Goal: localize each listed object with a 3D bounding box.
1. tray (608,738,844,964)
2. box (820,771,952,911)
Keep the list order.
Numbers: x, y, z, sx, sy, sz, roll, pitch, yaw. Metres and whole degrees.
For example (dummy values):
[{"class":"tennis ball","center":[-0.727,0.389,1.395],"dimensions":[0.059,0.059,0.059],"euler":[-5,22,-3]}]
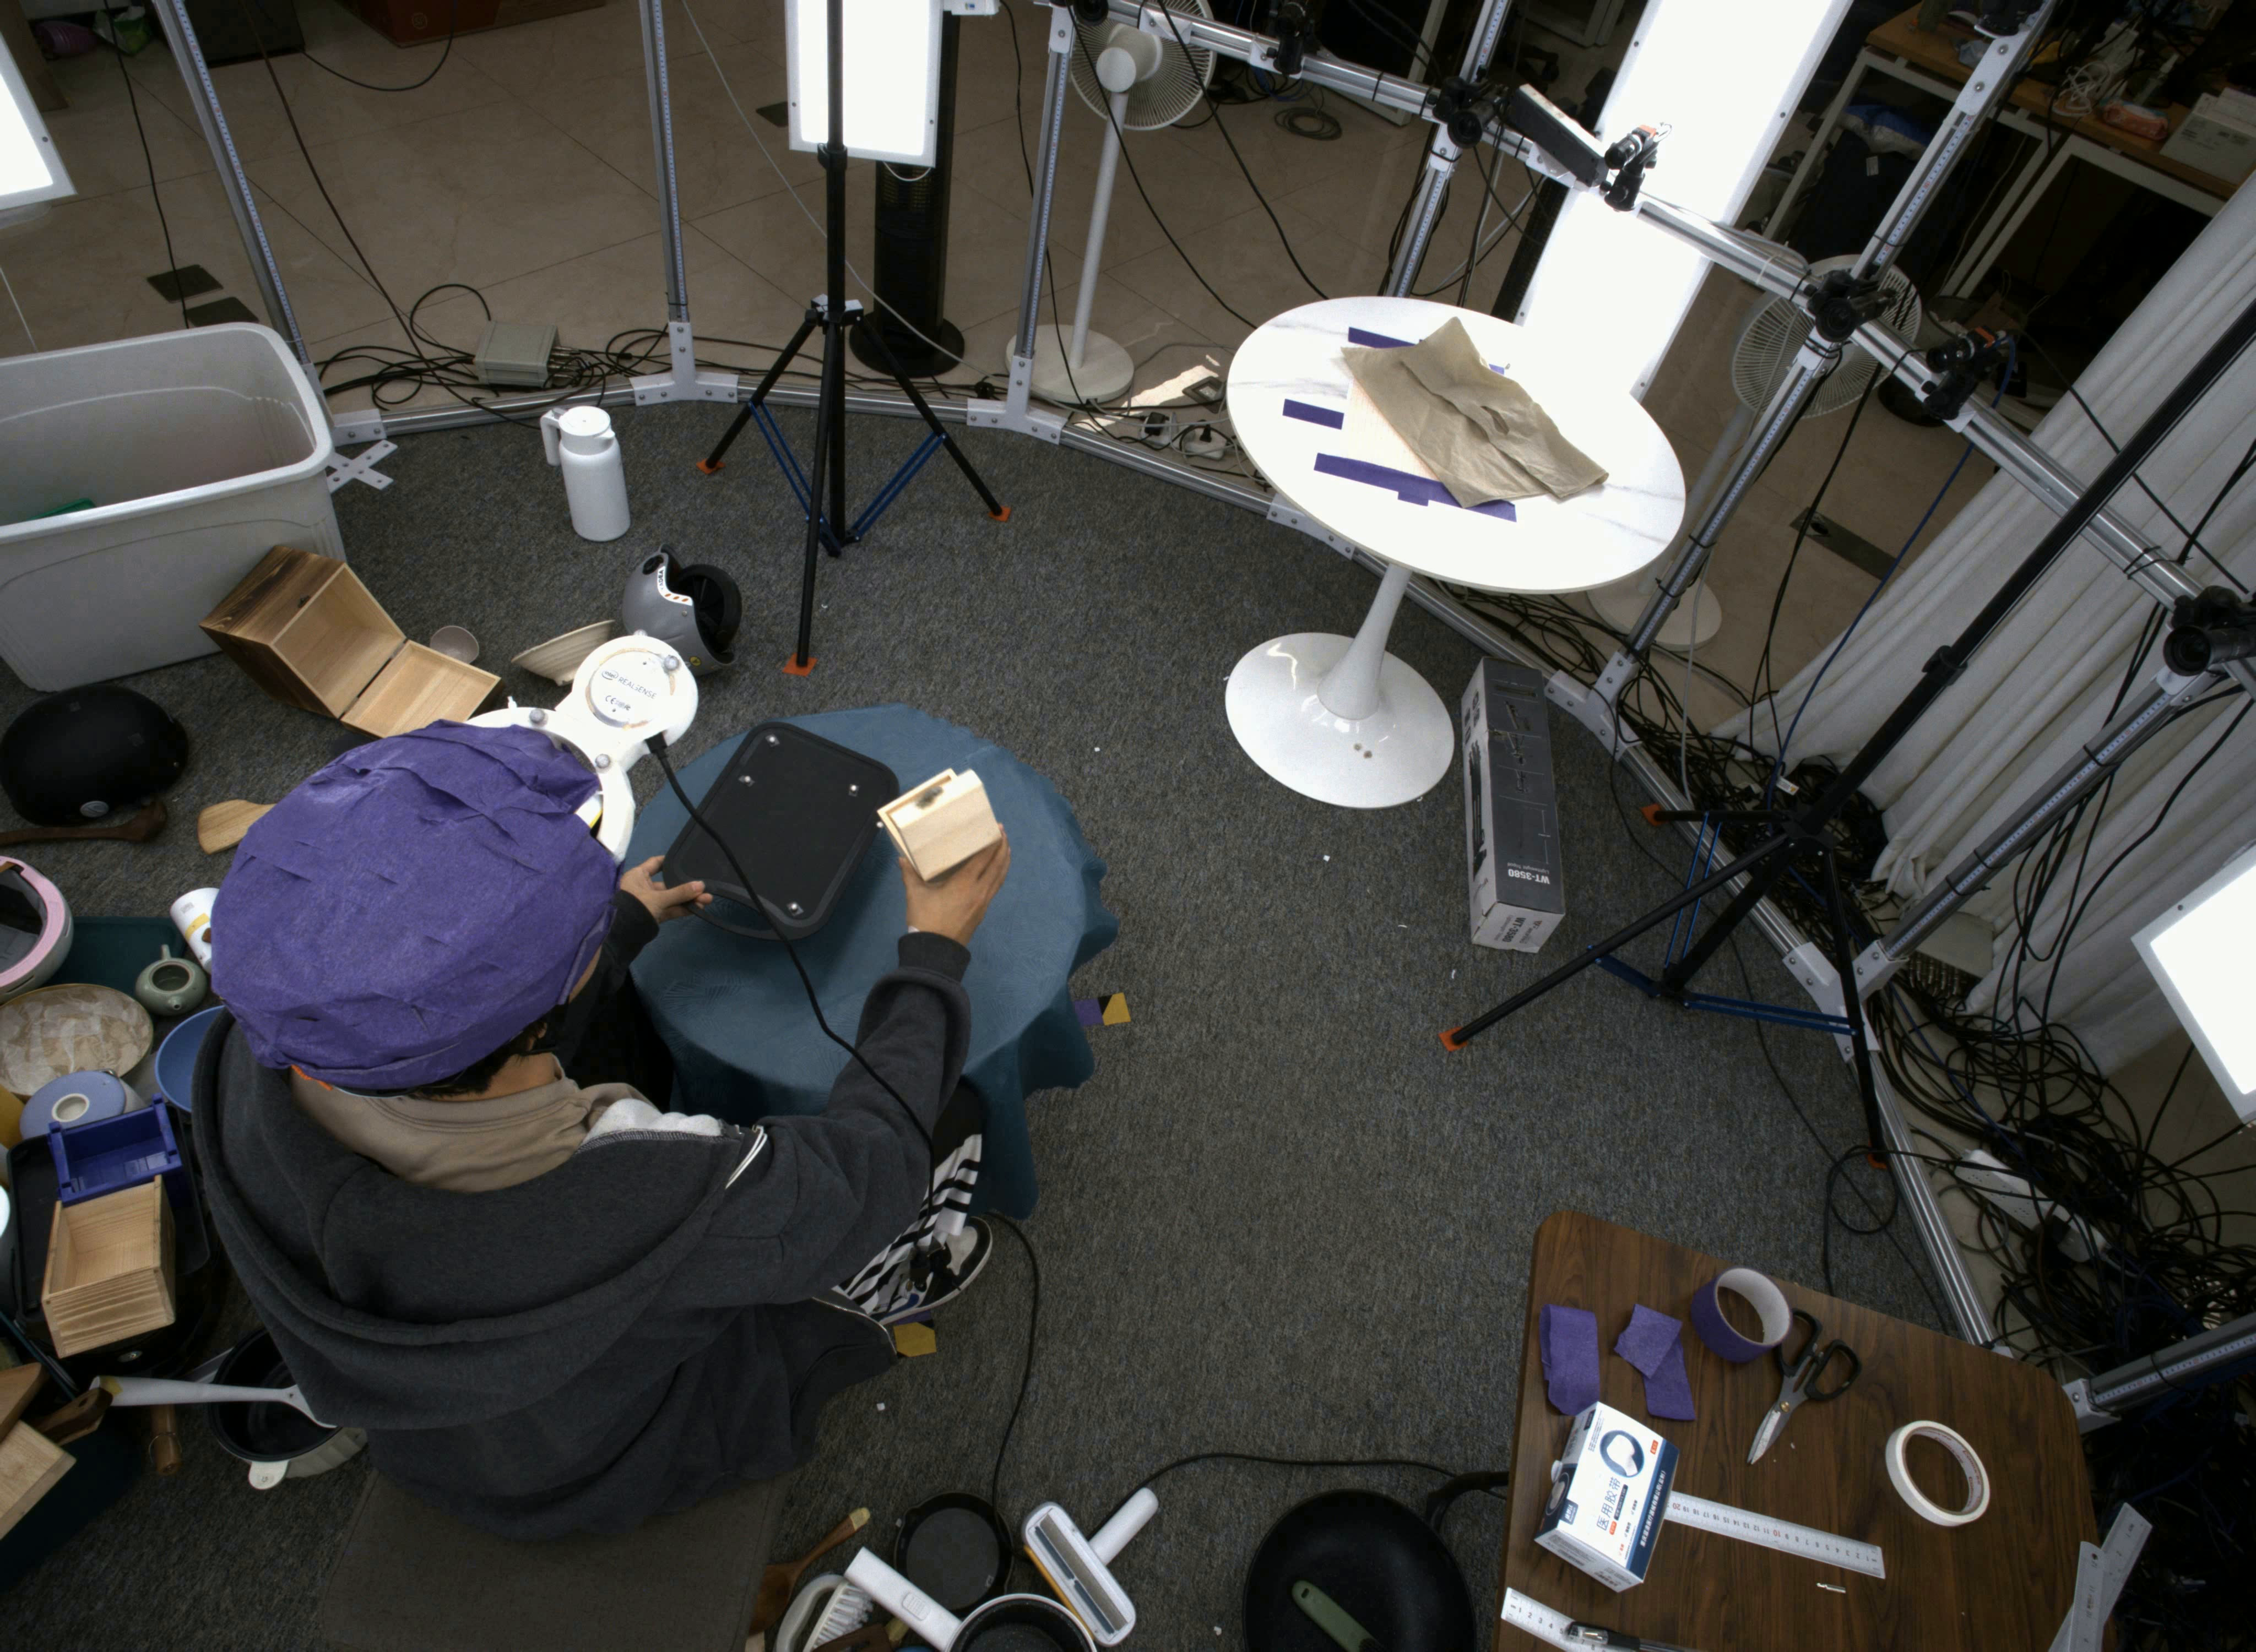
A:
[{"class":"tray","center":[-0.485,0.026,1.567],"dimensions":[0.211,0.010,0.321],"euler":[22,48,-7]},{"class":"box","center":[-0.280,-0.007,1.449],"dimensions":[0.102,0.190,0.130],"euler":[-36,60,-14]}]
